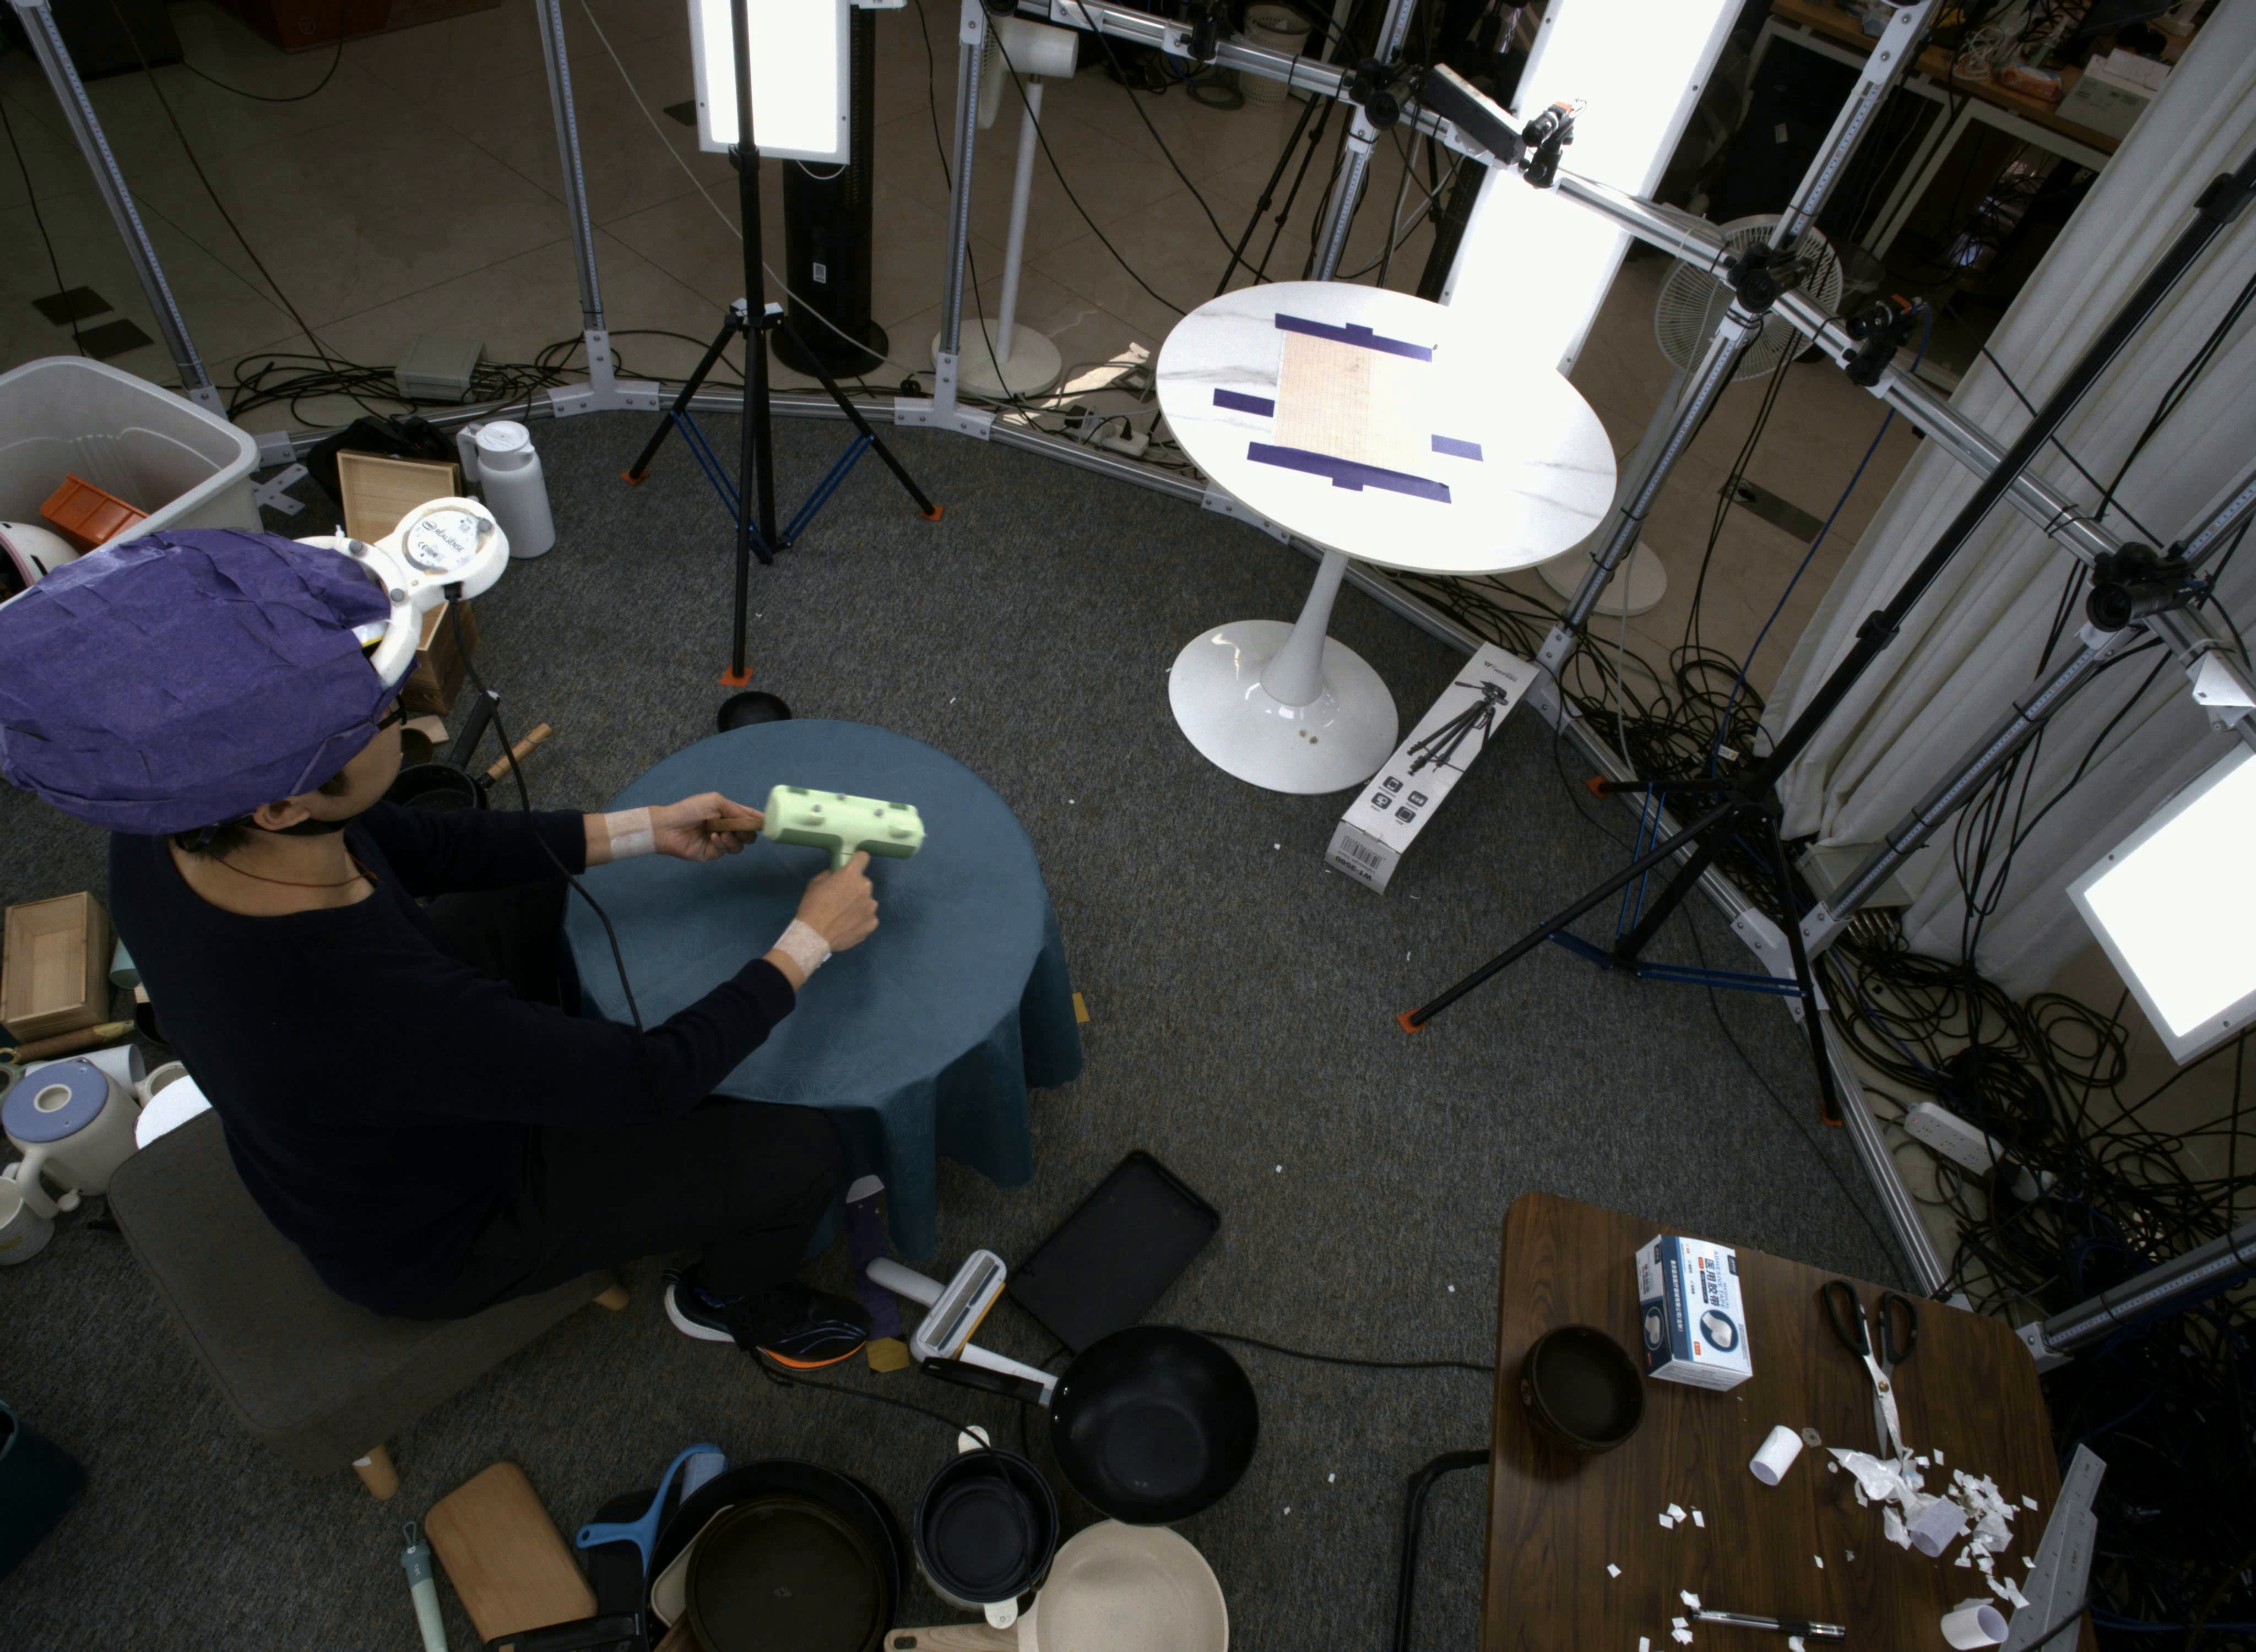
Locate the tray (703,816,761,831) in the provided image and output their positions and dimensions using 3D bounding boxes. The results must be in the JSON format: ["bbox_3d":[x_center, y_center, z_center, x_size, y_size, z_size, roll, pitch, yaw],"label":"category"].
[{"bbox_3d":[-0.408,-0.005,1.598,0.235,0.099,0.020,-3,89,-39],"label":"tray"}]

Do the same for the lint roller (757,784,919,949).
[{"bbox_3d":[-0.333,0.045,1.534,0.203,0.081,0.181,7,64,-40],"label":"lint roller"}]
